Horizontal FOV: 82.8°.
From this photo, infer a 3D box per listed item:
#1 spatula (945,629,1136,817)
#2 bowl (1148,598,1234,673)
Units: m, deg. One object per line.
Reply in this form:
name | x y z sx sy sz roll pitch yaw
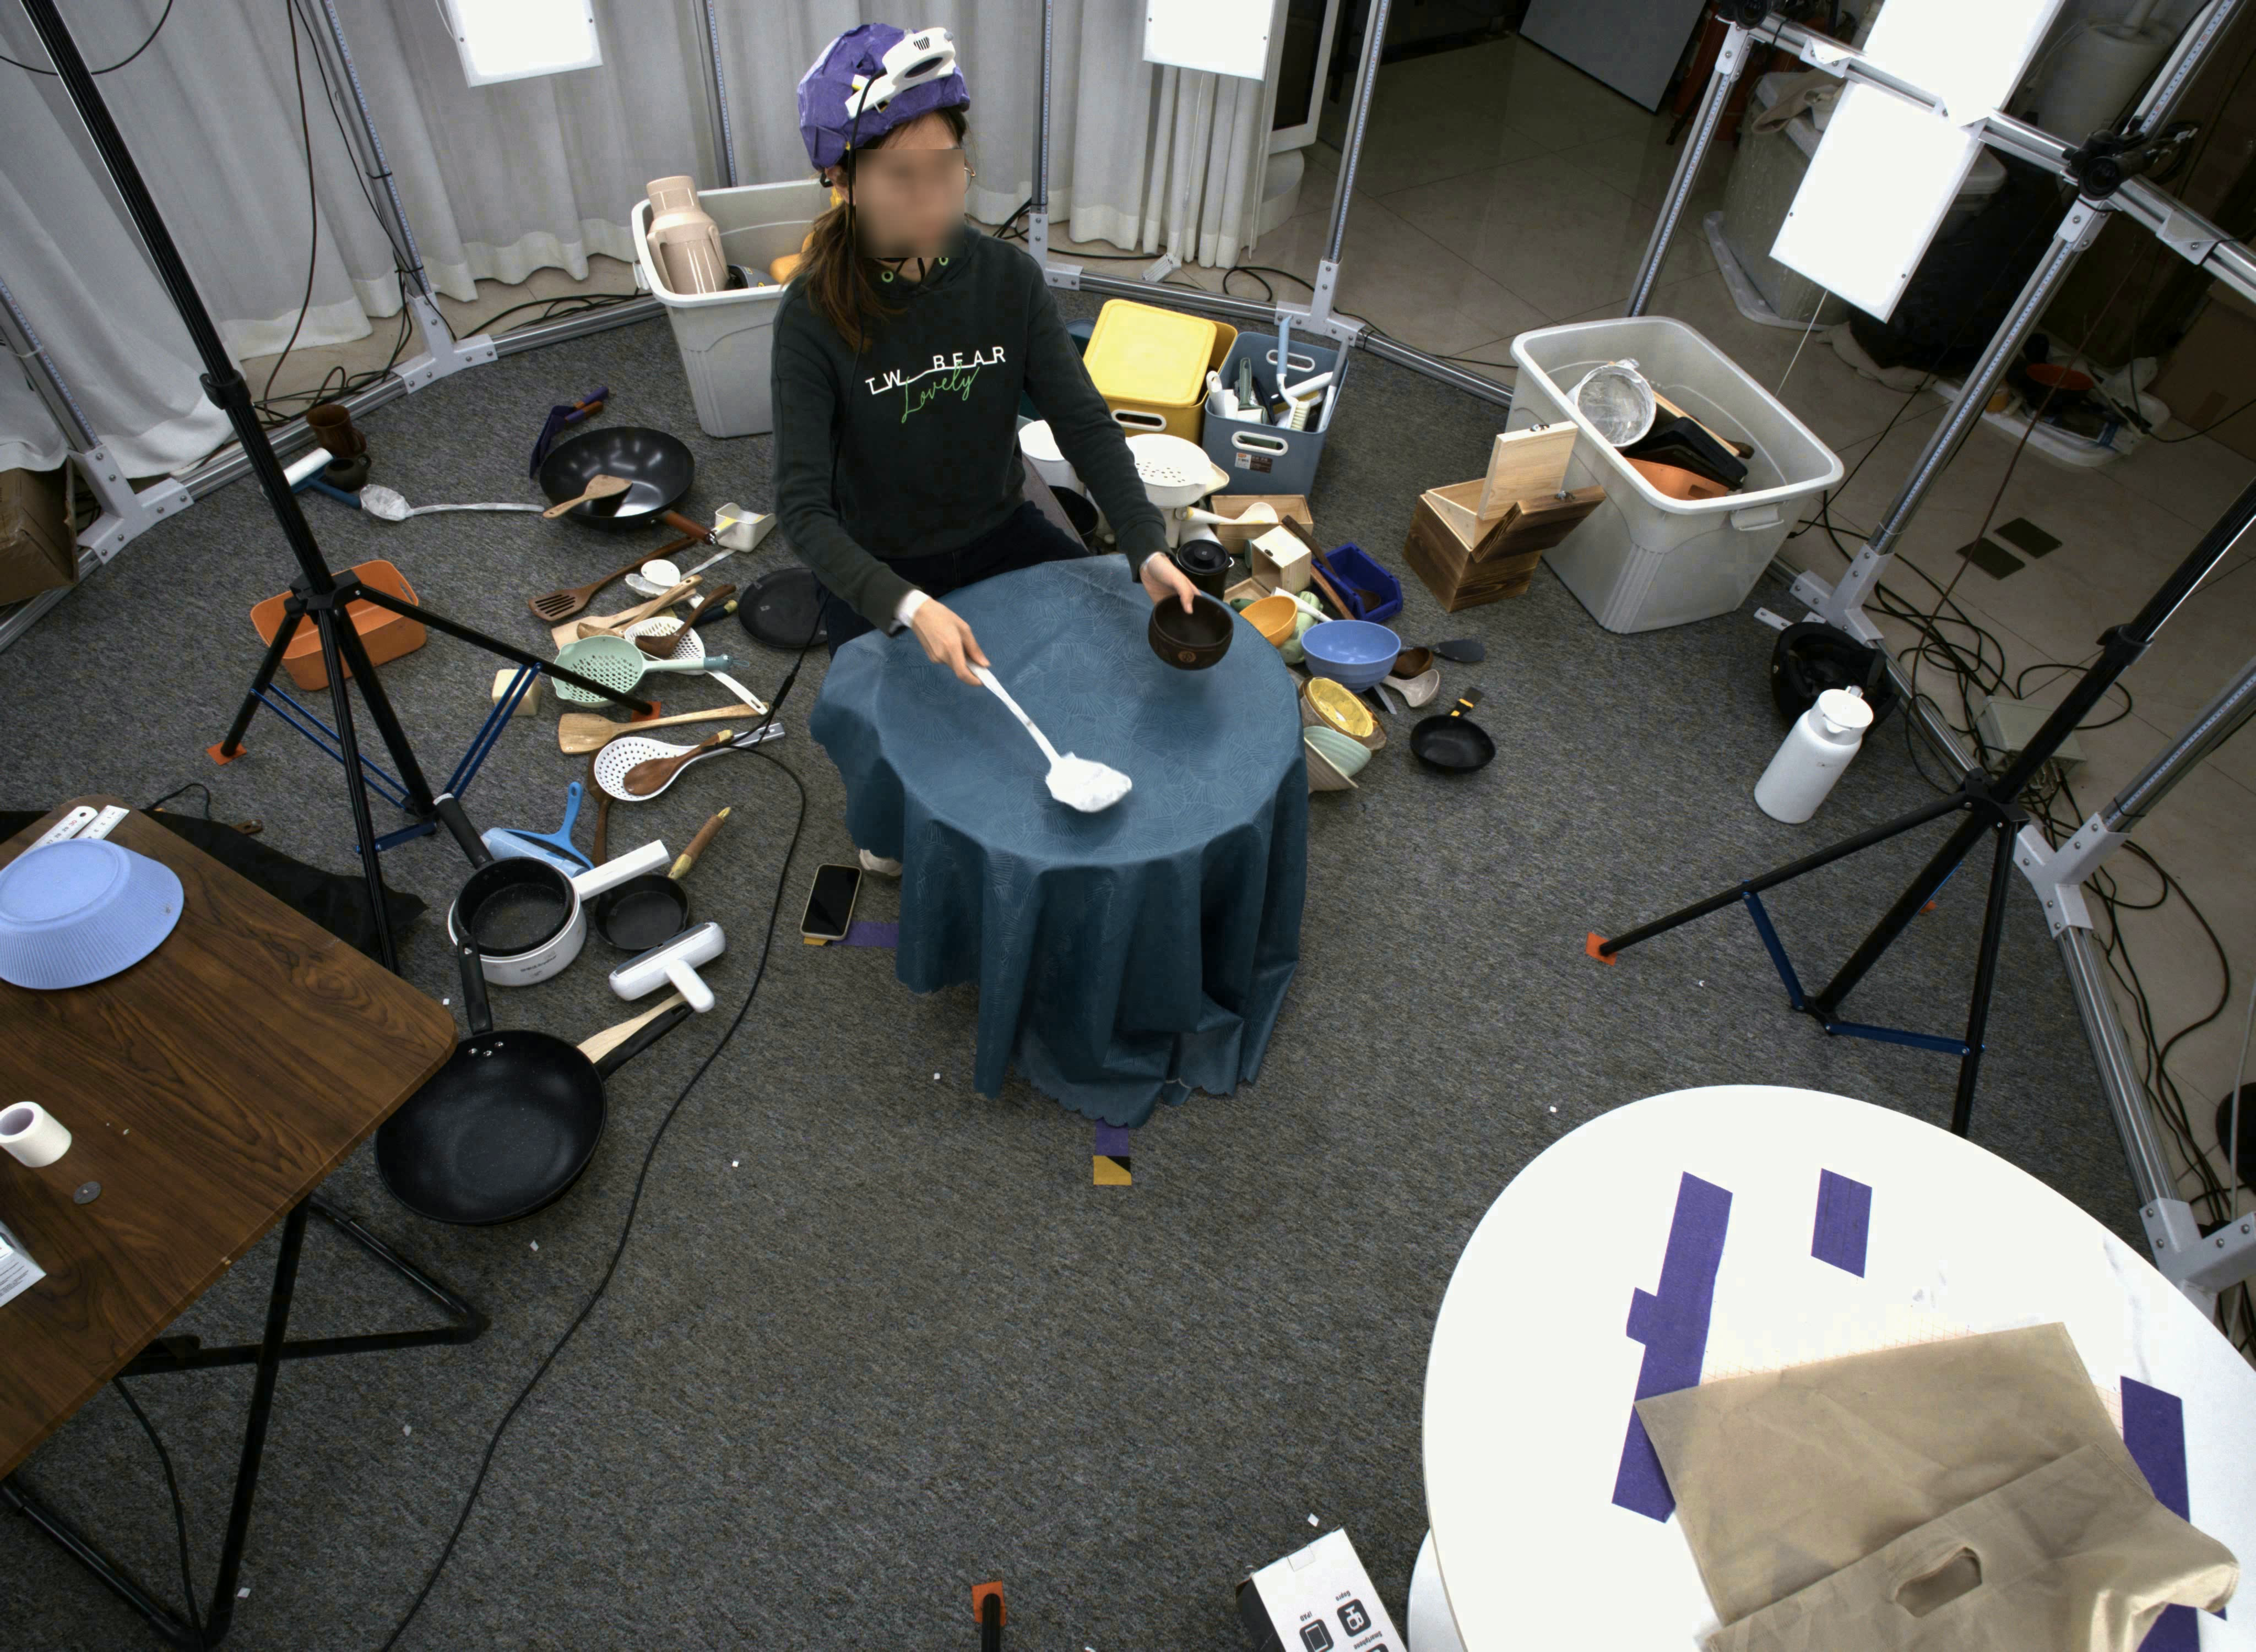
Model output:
spatula | -0.135 -0.147 1.721 0.099 0.044 0.369 -30 71 -34
bowl | 0.085 -0.259 1.800 0.118 0.068 0.121 6 43 -6
